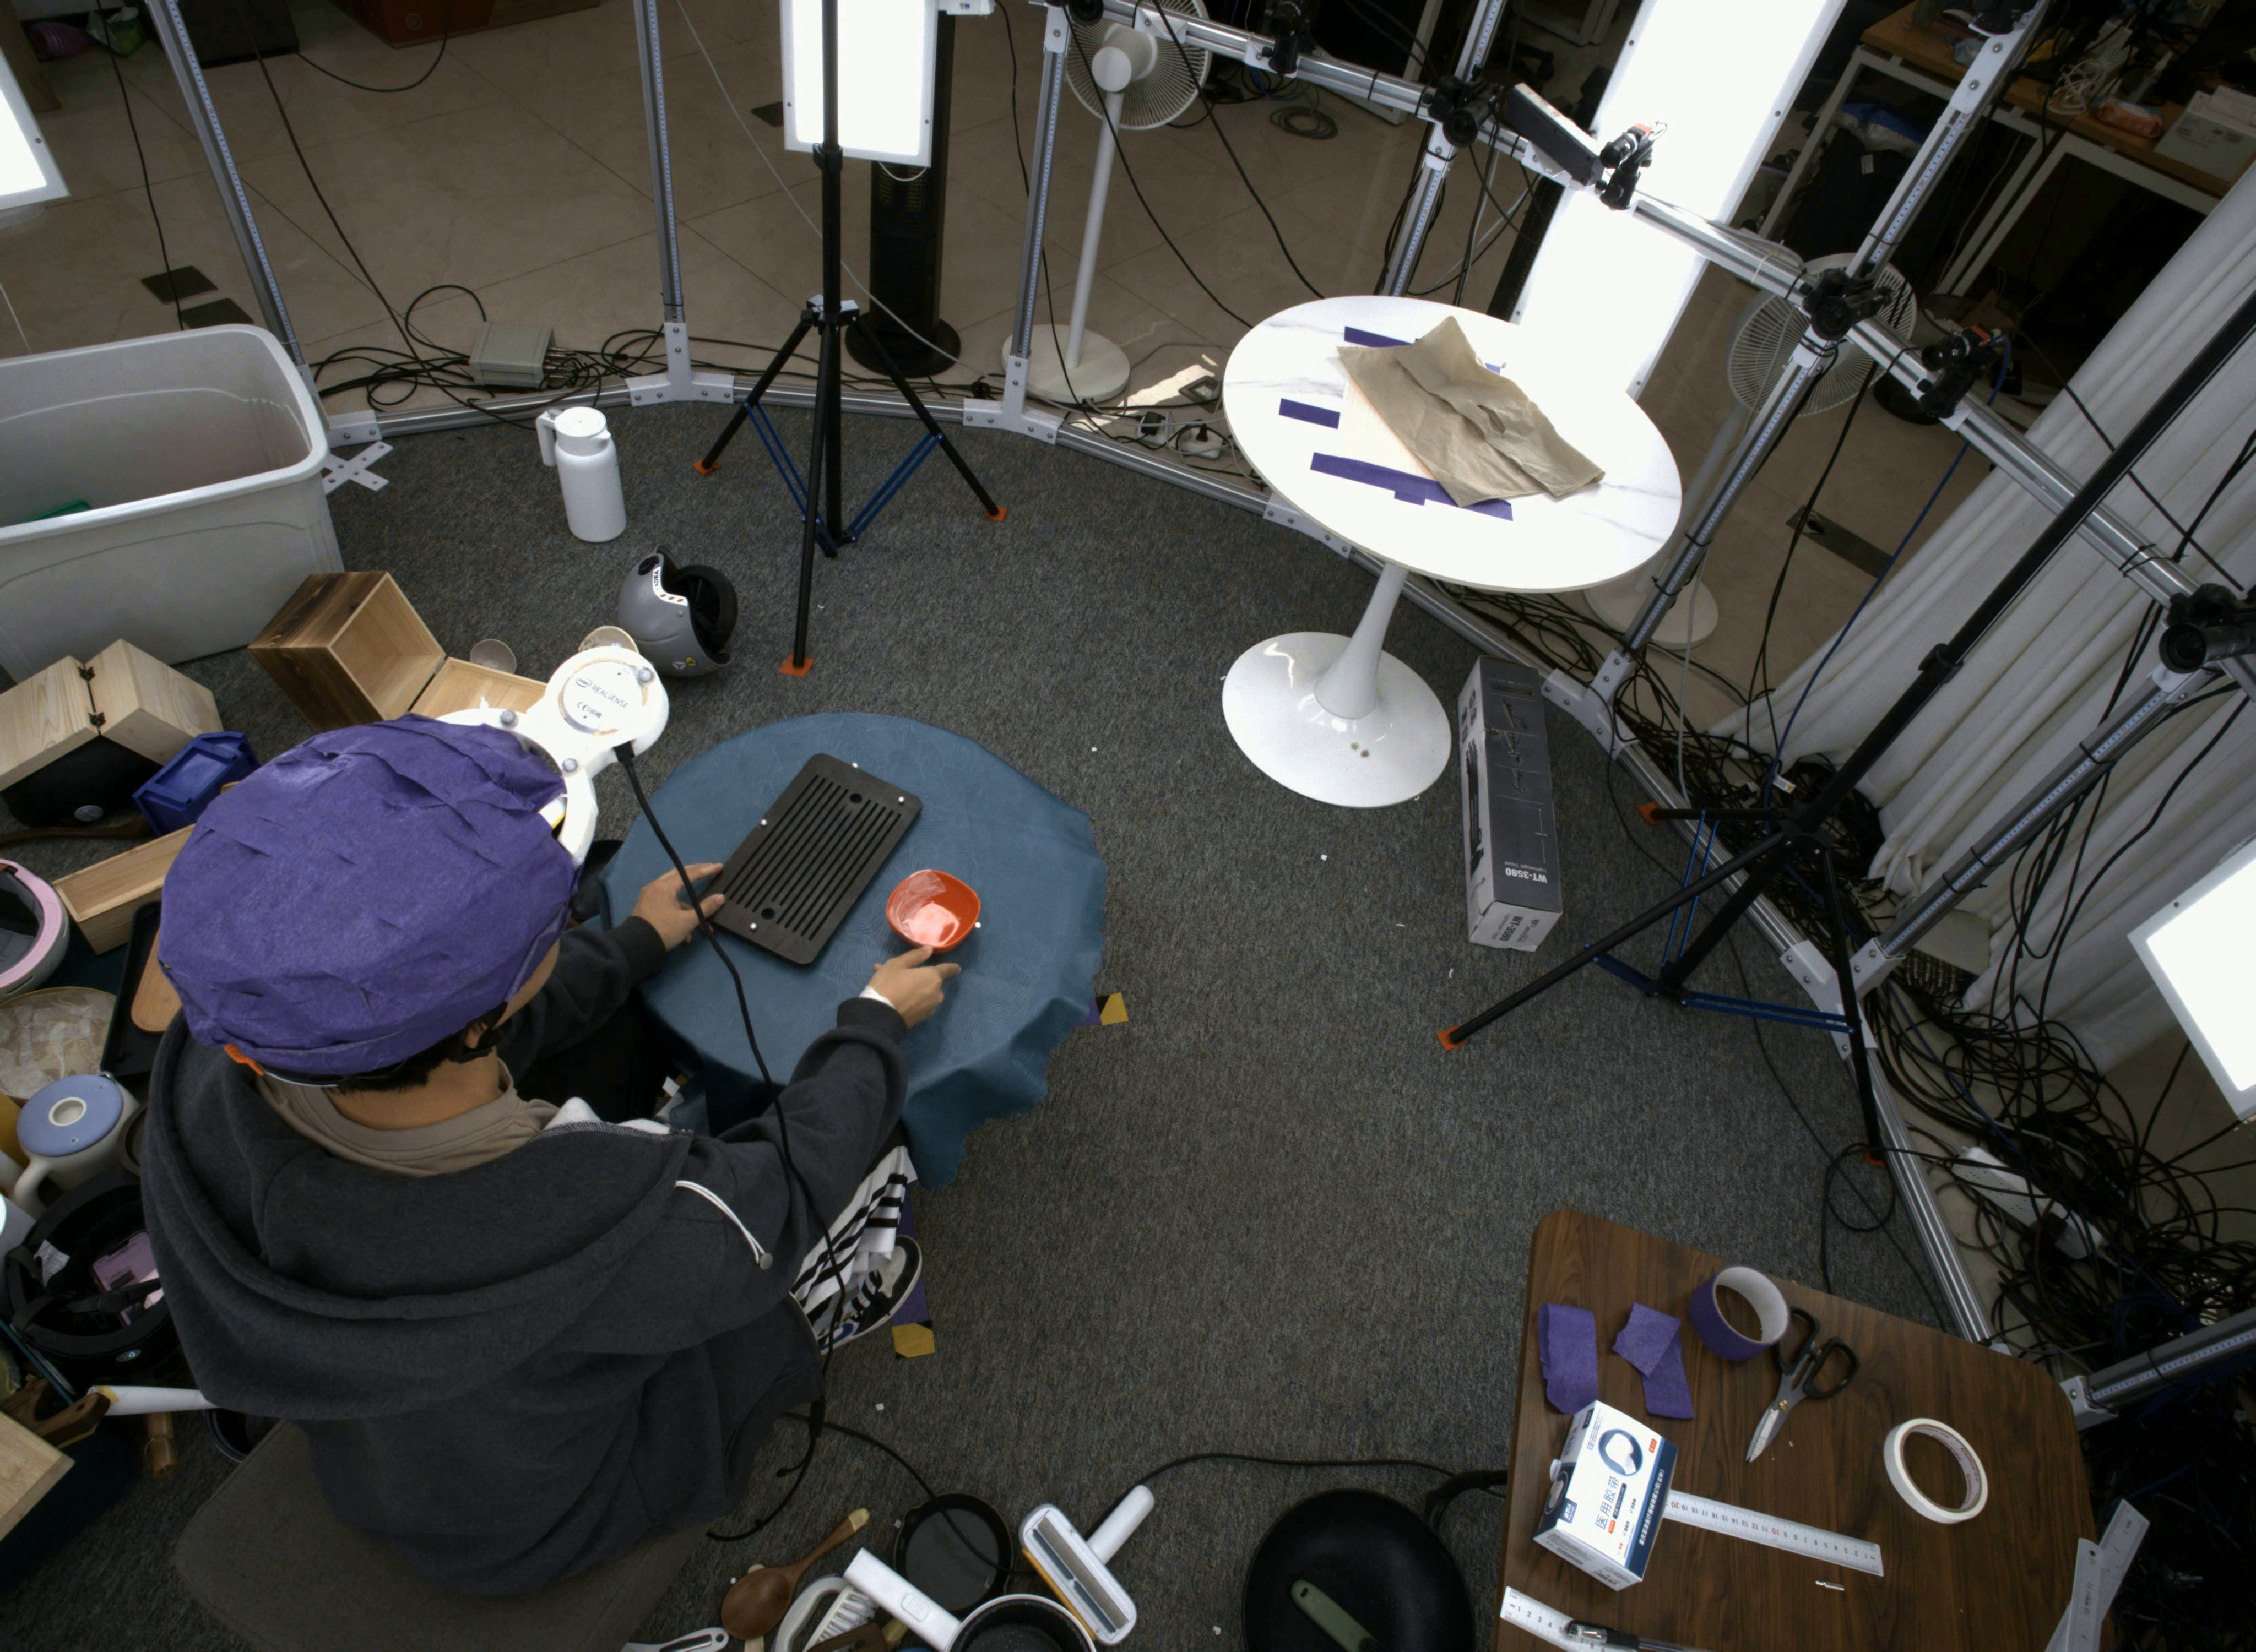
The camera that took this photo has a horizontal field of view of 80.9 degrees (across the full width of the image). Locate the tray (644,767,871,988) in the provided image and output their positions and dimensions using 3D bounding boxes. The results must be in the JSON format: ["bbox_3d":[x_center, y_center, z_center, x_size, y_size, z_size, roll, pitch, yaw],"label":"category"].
[{"bbox_3d":[-0.470,0.059,1.659,0.168,0.019,0.303,23,52,2],"label":"tray"}]

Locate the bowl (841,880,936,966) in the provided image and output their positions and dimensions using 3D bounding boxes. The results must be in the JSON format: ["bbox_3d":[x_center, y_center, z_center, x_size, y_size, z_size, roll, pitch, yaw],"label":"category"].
[{"bbox_3d":[-0.301,0.128,1.629,0.119,0.052,0.117,9,51,-9],"label":"bowl"}]
